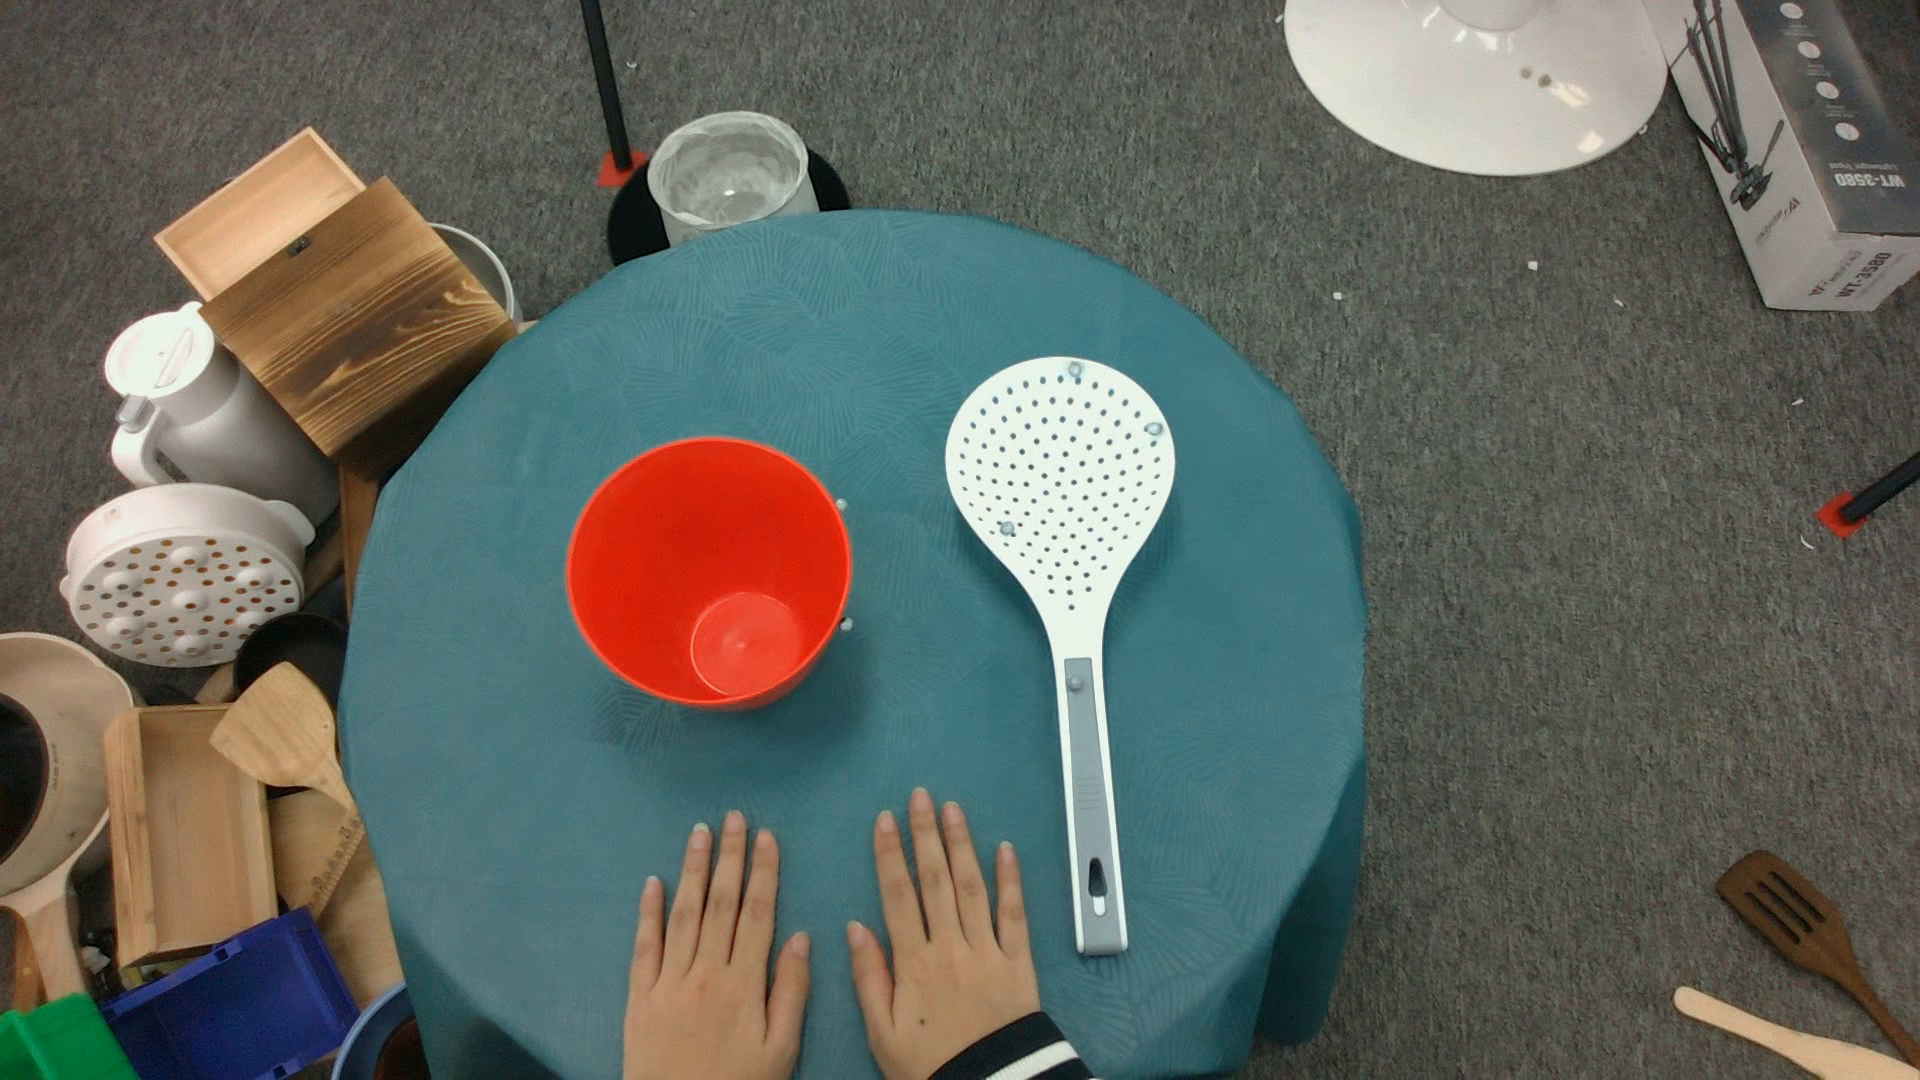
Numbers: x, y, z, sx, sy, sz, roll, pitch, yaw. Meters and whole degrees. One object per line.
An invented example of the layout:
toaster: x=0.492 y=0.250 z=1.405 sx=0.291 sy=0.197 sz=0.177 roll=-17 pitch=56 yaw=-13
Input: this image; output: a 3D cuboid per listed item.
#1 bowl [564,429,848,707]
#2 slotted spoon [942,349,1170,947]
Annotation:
bowl: x=-0.134 y=0.028 z=0.760 sx=0.148 sy=0.104 sz=0.148 roll=1 pitch=61 yaw=-3
slotted spoon: x=0.063 y=0.049 z=0.781 sx=0.136 sy=0.045 sz=0.351 roll=-3 pitch=63 yaw=1
